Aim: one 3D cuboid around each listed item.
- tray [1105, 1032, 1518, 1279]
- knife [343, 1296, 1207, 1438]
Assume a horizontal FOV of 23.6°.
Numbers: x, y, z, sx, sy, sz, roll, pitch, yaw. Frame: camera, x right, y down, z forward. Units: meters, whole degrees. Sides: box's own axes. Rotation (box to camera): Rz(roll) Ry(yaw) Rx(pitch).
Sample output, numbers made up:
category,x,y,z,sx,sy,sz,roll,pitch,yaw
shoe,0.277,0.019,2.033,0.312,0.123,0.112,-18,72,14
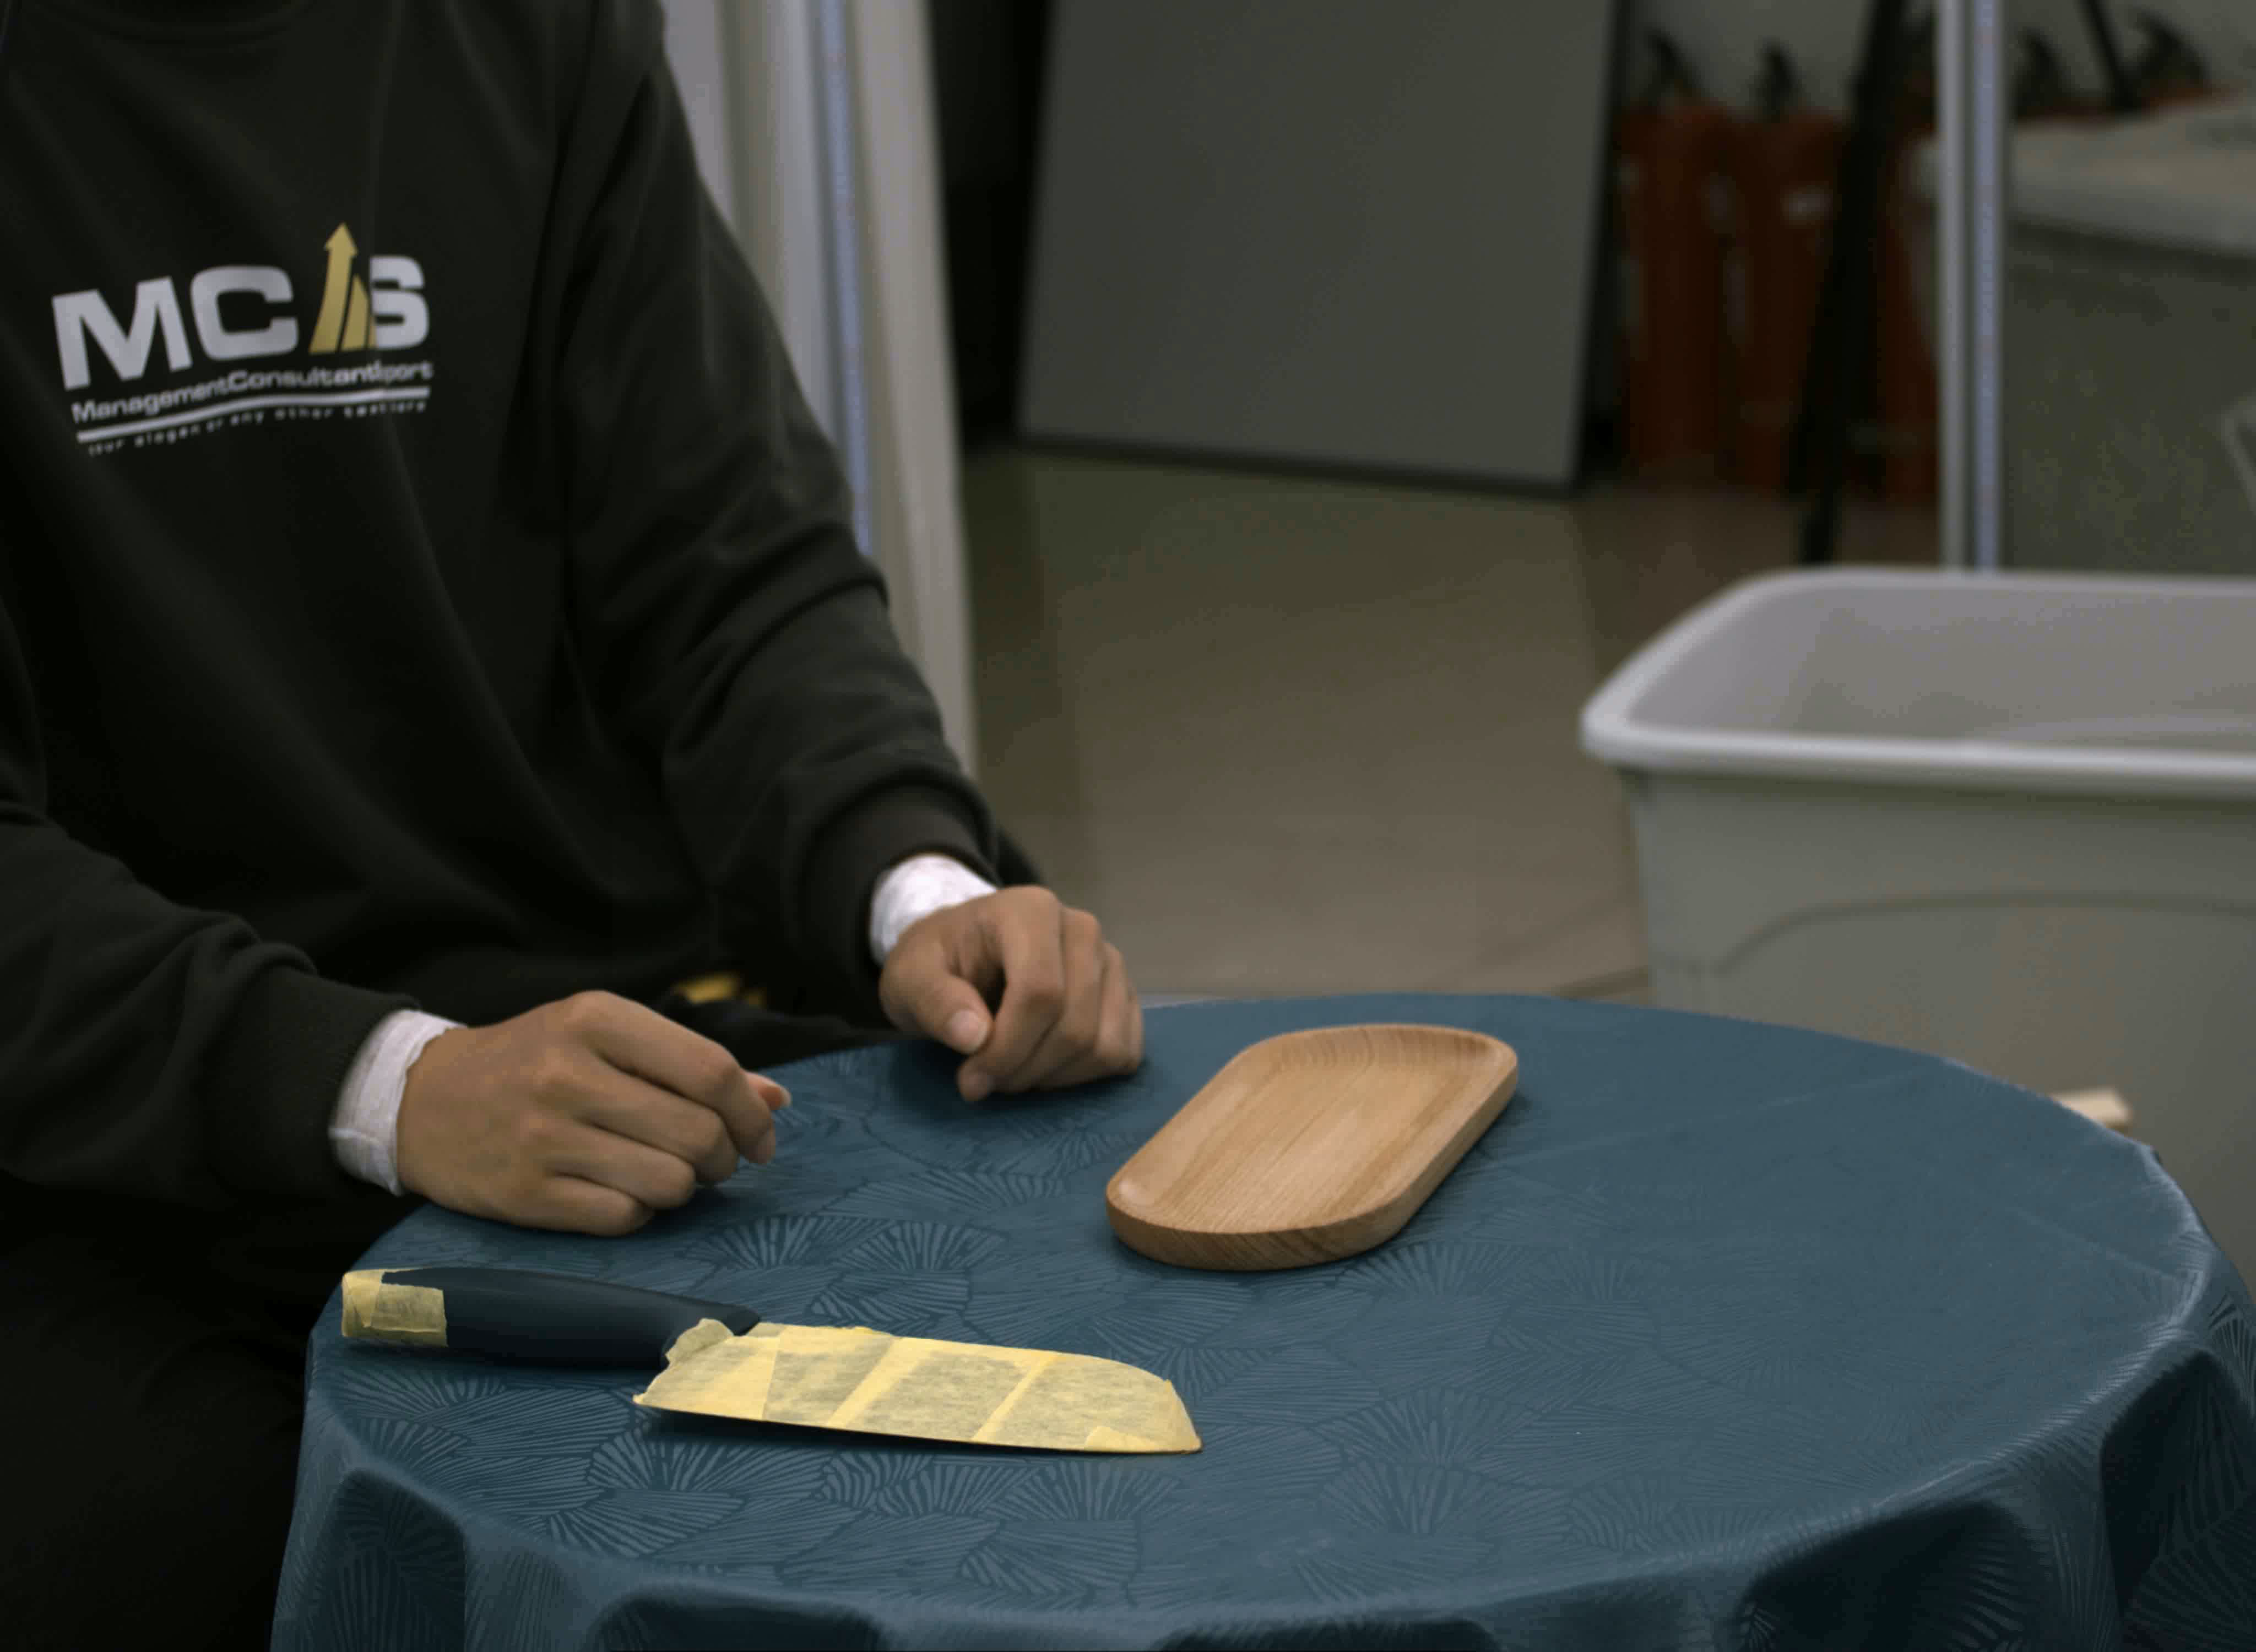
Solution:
category,x,y,z,sx,sy,sz,roll,pitch,yaw
tray,0.064,0.107,1.782,0.101,0.020,0.229,-1,15,19
knife,-0.111,0.164,1.603,0.289,0.027,0.080,2,13,22
